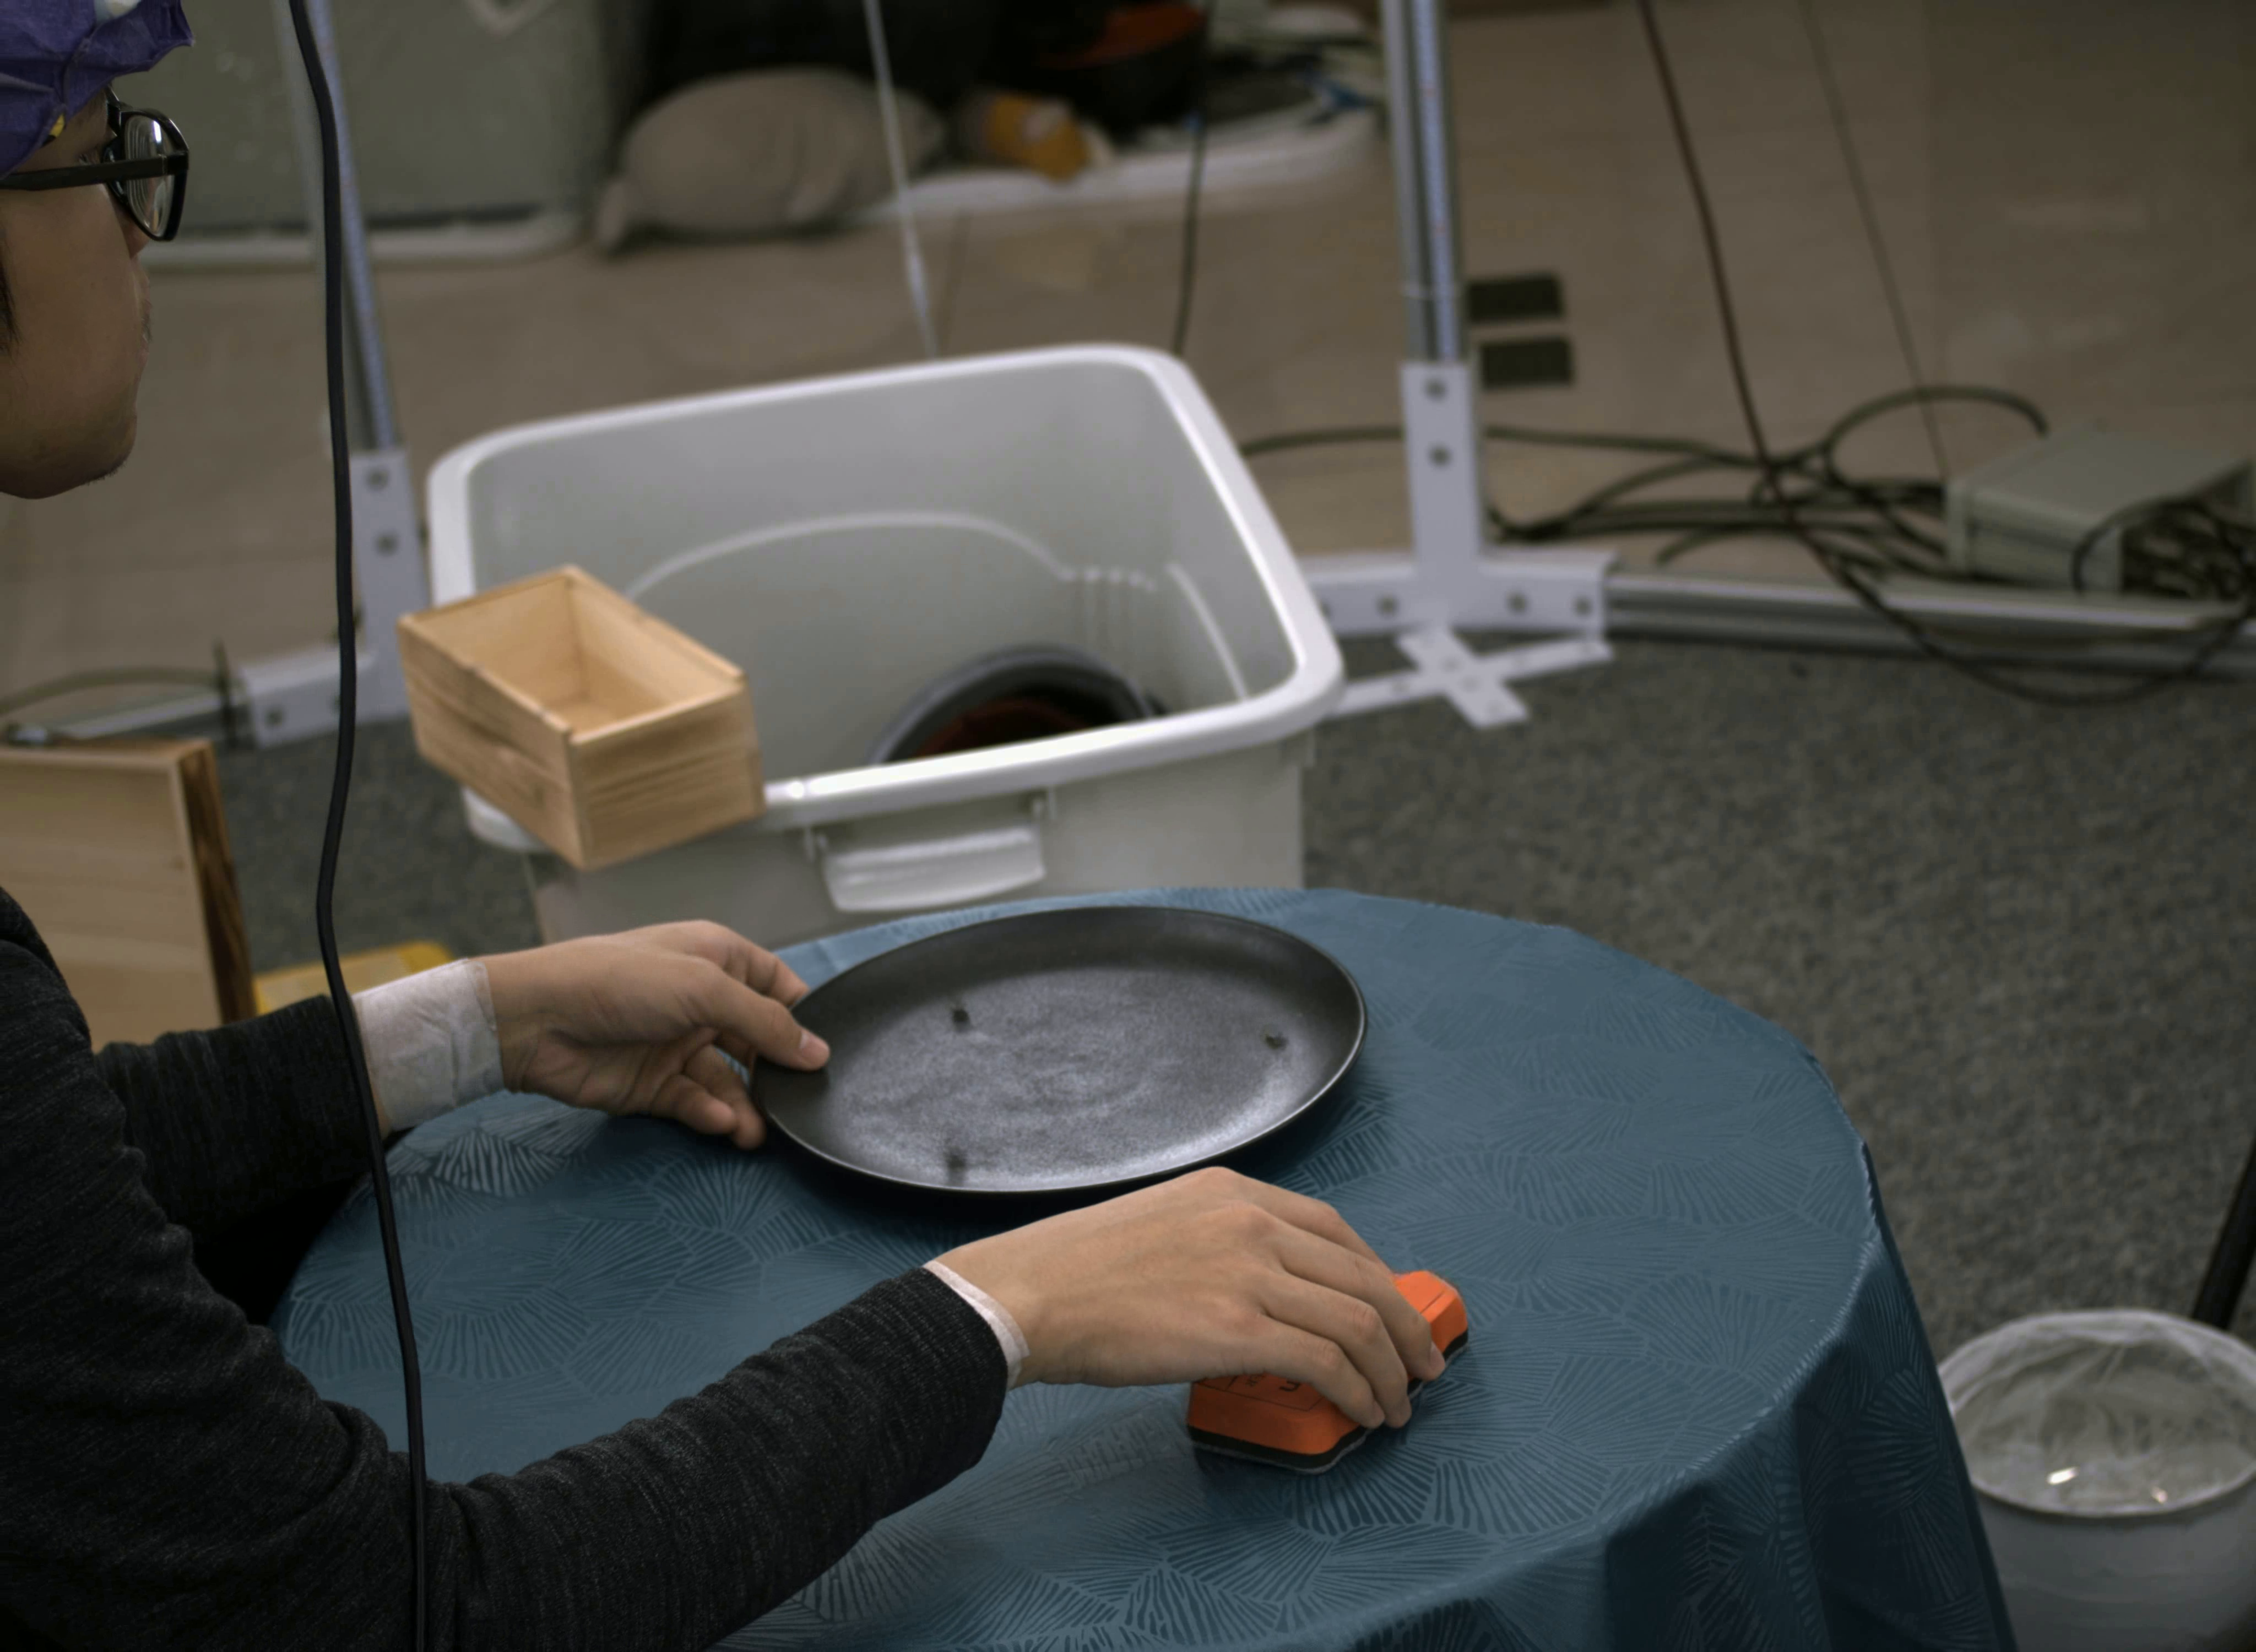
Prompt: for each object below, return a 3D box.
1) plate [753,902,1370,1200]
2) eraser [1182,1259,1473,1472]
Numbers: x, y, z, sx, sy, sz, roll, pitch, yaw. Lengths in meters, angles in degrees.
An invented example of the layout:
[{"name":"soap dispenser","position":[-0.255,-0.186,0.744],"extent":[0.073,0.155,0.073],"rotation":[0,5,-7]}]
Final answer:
[{"name":"plate","position":[-0.026,0.093,2.225],"extent":[0.244,0.024,0.241],"rotation":[-5,25,3]},{"name":"eraser","position":[0.070,0.189,1.994],"extent":[0.058,0.023,0.107],"rotation":[11,29,36]}]
